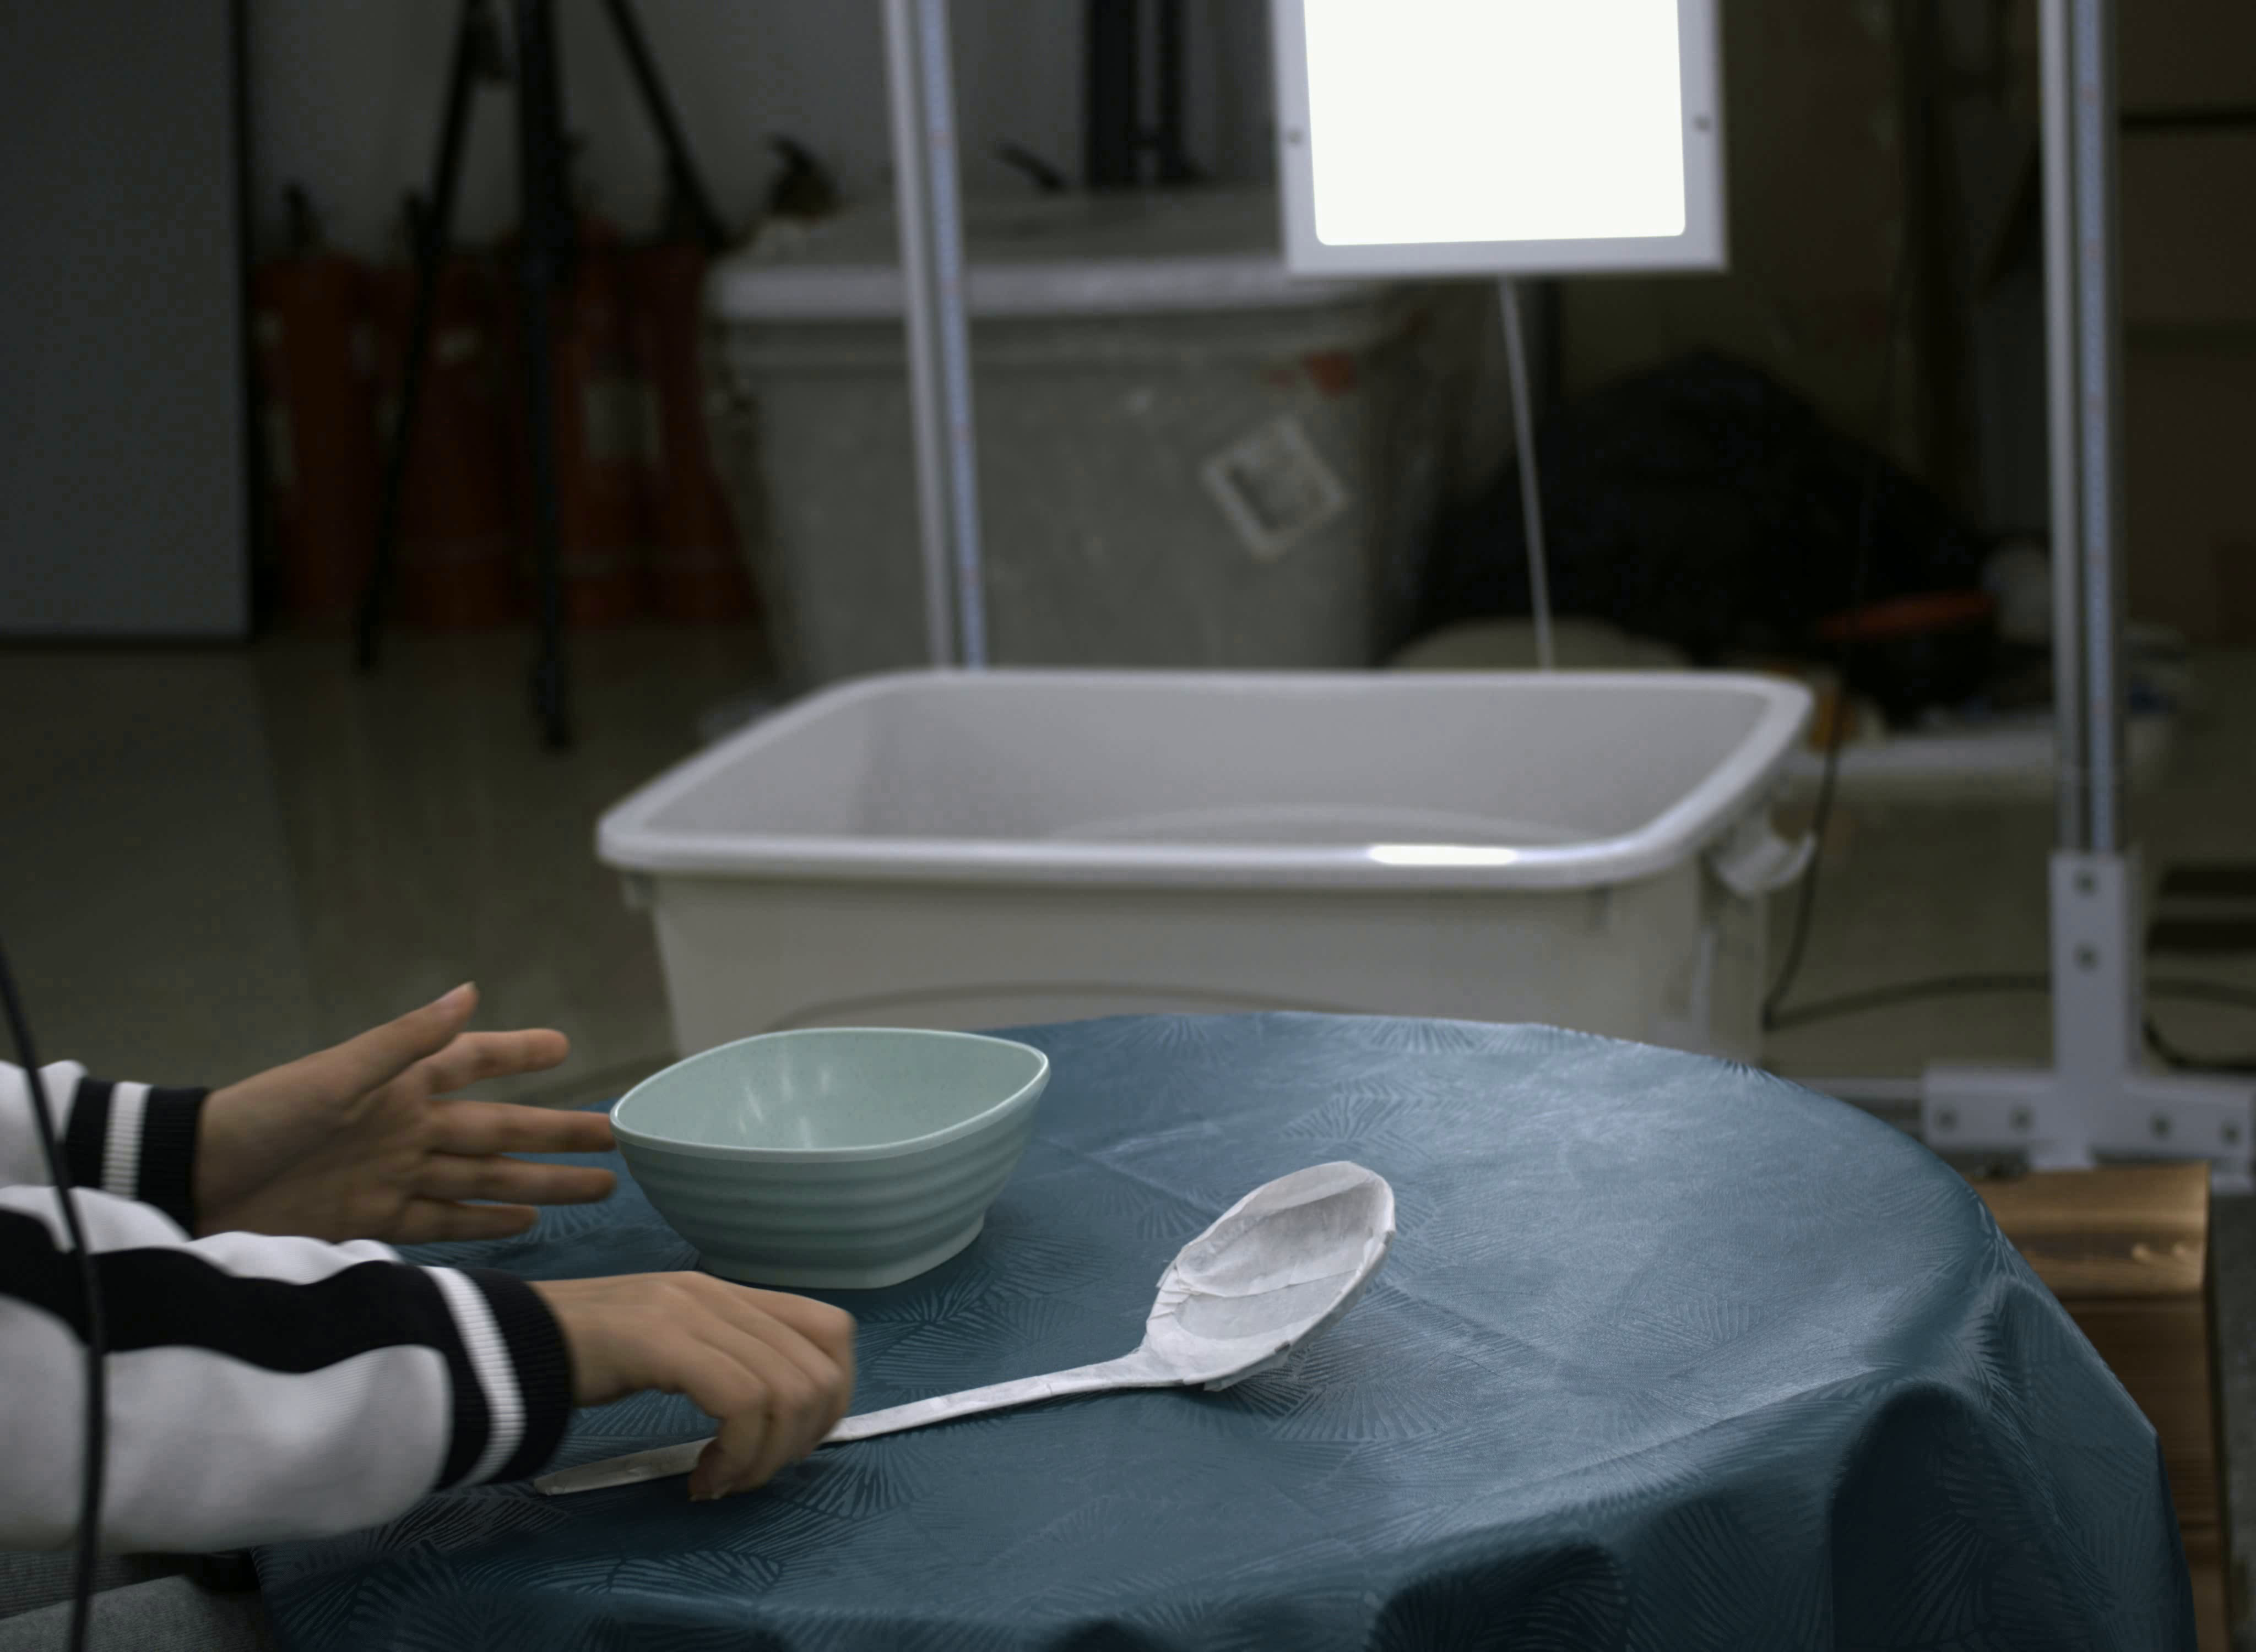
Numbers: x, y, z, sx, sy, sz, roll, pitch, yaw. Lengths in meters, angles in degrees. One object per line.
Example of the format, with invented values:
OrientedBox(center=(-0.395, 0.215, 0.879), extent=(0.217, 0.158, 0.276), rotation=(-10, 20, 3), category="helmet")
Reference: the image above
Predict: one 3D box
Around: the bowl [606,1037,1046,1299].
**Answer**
OrientedBox(center=(-0.099, 0.118, 1.859), extent=(0.151, 0.059, 0.151), rotation=(-5, 14, 0), category="bowl")

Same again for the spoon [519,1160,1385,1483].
OrientedBox(center=(-0.054, 0.151, 1.695), extent=(0.274, 0.059, 0.101), rotation=(-8, 12, -11), category="spoon")
